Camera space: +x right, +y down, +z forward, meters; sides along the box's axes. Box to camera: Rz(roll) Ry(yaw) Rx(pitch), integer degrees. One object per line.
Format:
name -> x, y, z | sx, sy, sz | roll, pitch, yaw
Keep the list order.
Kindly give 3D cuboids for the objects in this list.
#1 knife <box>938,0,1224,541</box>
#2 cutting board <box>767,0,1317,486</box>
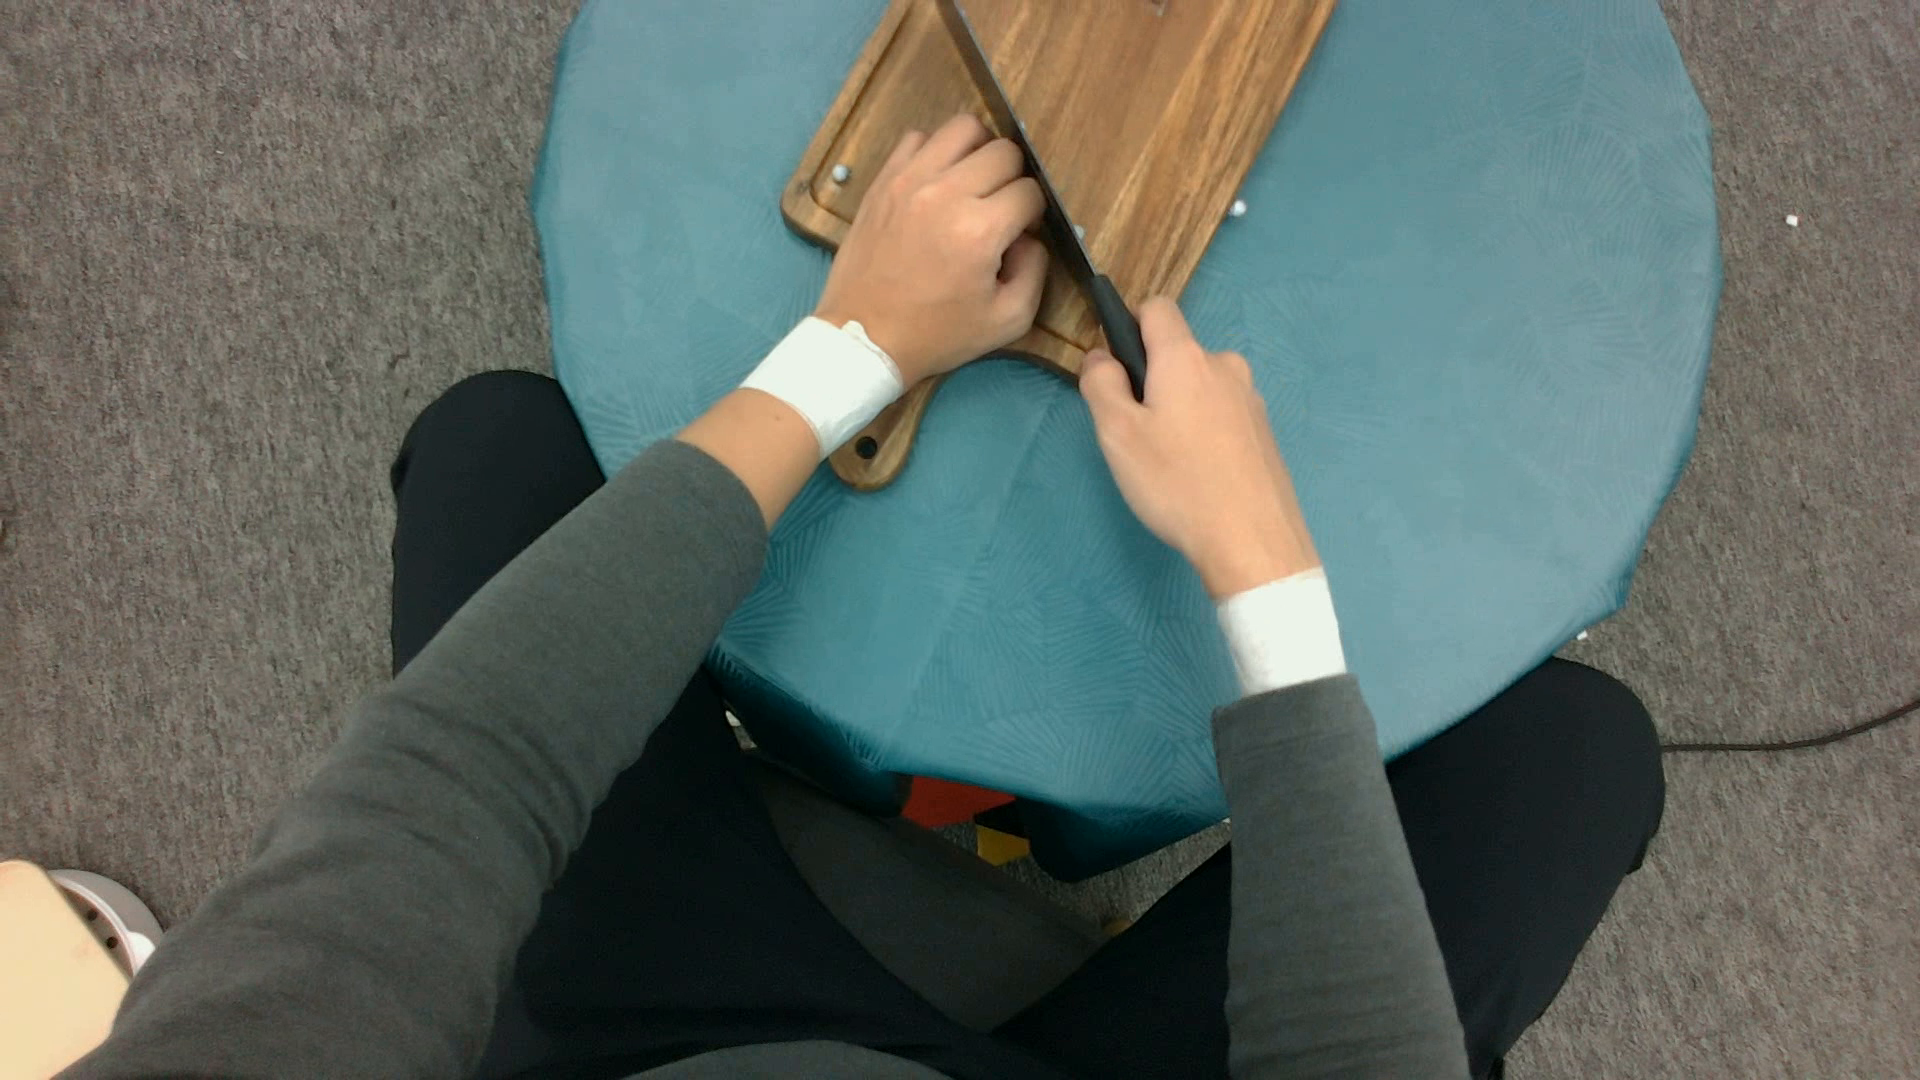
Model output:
knife -> 0.049, -0.138, 0.638 | 0.021, 0.081, 0.302 | -26, 86, 1
cutting board -> 0.023, -0.184, 0.689 | 0.201, 0.023, 0.352 | 28, 83, 2
